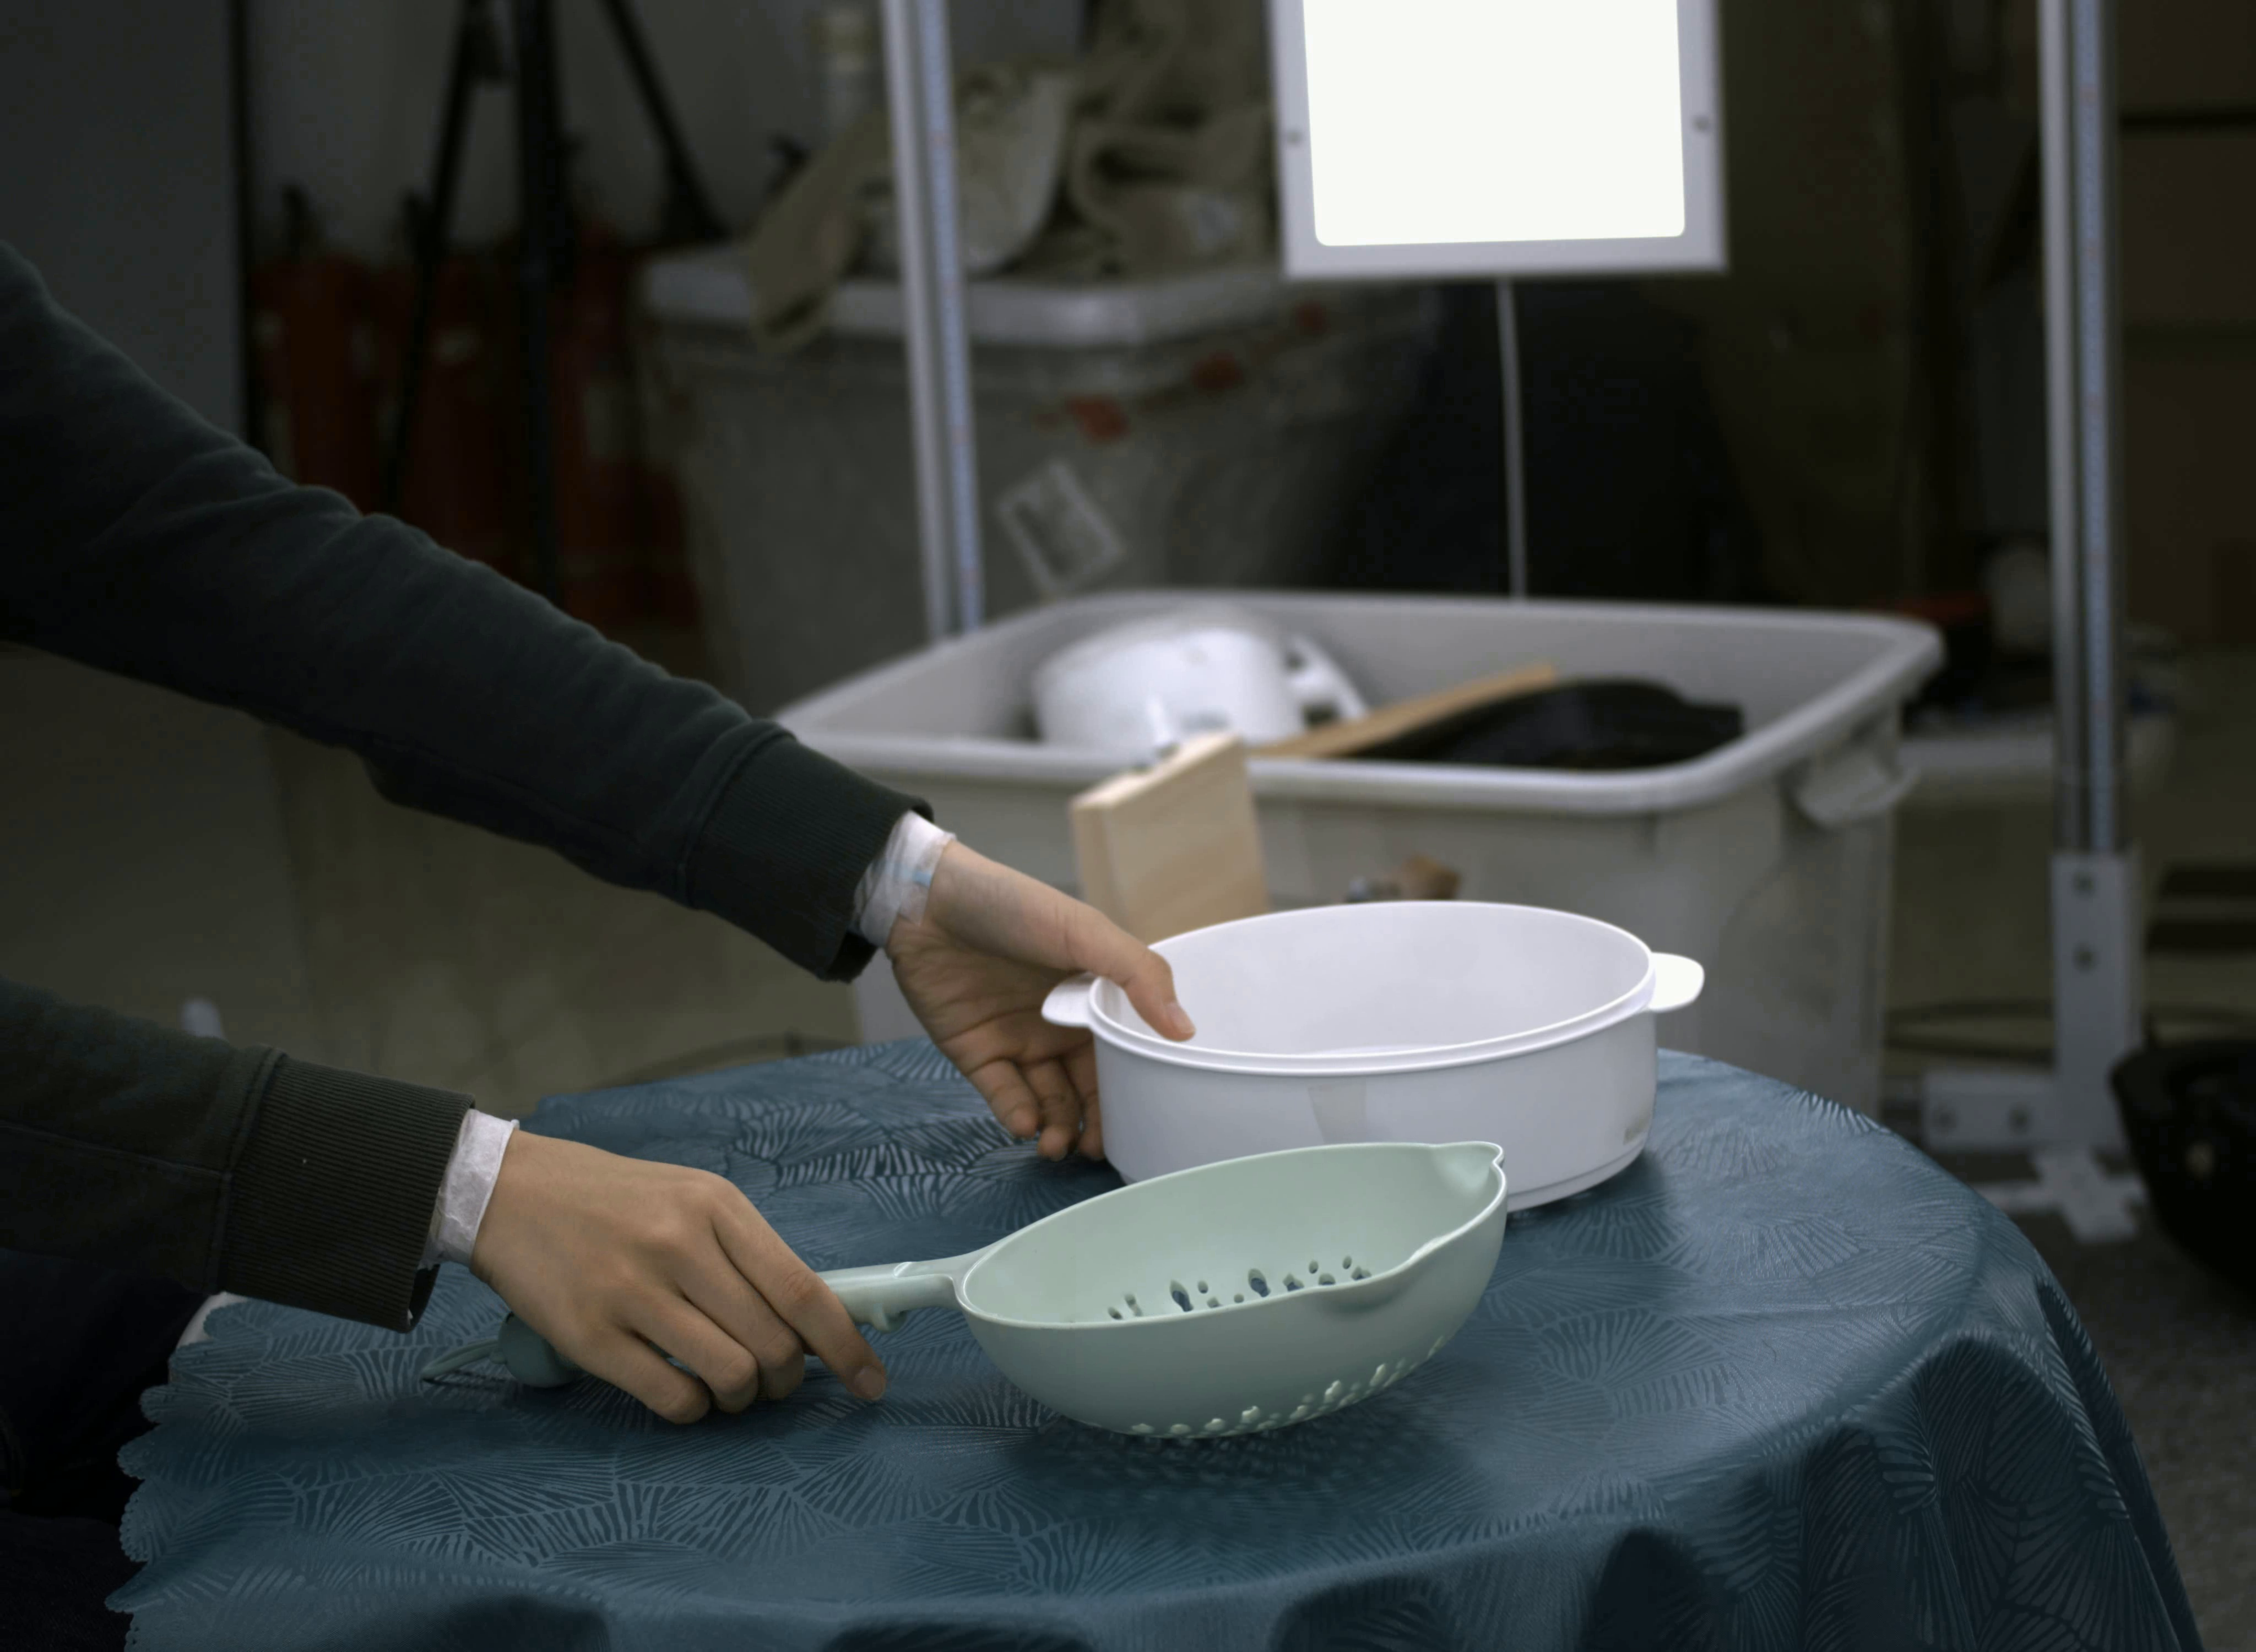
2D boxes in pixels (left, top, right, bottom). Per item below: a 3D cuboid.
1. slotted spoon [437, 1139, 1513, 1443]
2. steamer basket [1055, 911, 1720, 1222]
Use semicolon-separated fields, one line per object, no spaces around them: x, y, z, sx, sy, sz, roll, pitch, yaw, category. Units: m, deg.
-0.055;0.146;1.700;0.364;0.075;0.166;1;14;21;slotted spoon
0.091;0.085;1.900;0.232;0.069;0.200;-2;13;12;steamer basket
